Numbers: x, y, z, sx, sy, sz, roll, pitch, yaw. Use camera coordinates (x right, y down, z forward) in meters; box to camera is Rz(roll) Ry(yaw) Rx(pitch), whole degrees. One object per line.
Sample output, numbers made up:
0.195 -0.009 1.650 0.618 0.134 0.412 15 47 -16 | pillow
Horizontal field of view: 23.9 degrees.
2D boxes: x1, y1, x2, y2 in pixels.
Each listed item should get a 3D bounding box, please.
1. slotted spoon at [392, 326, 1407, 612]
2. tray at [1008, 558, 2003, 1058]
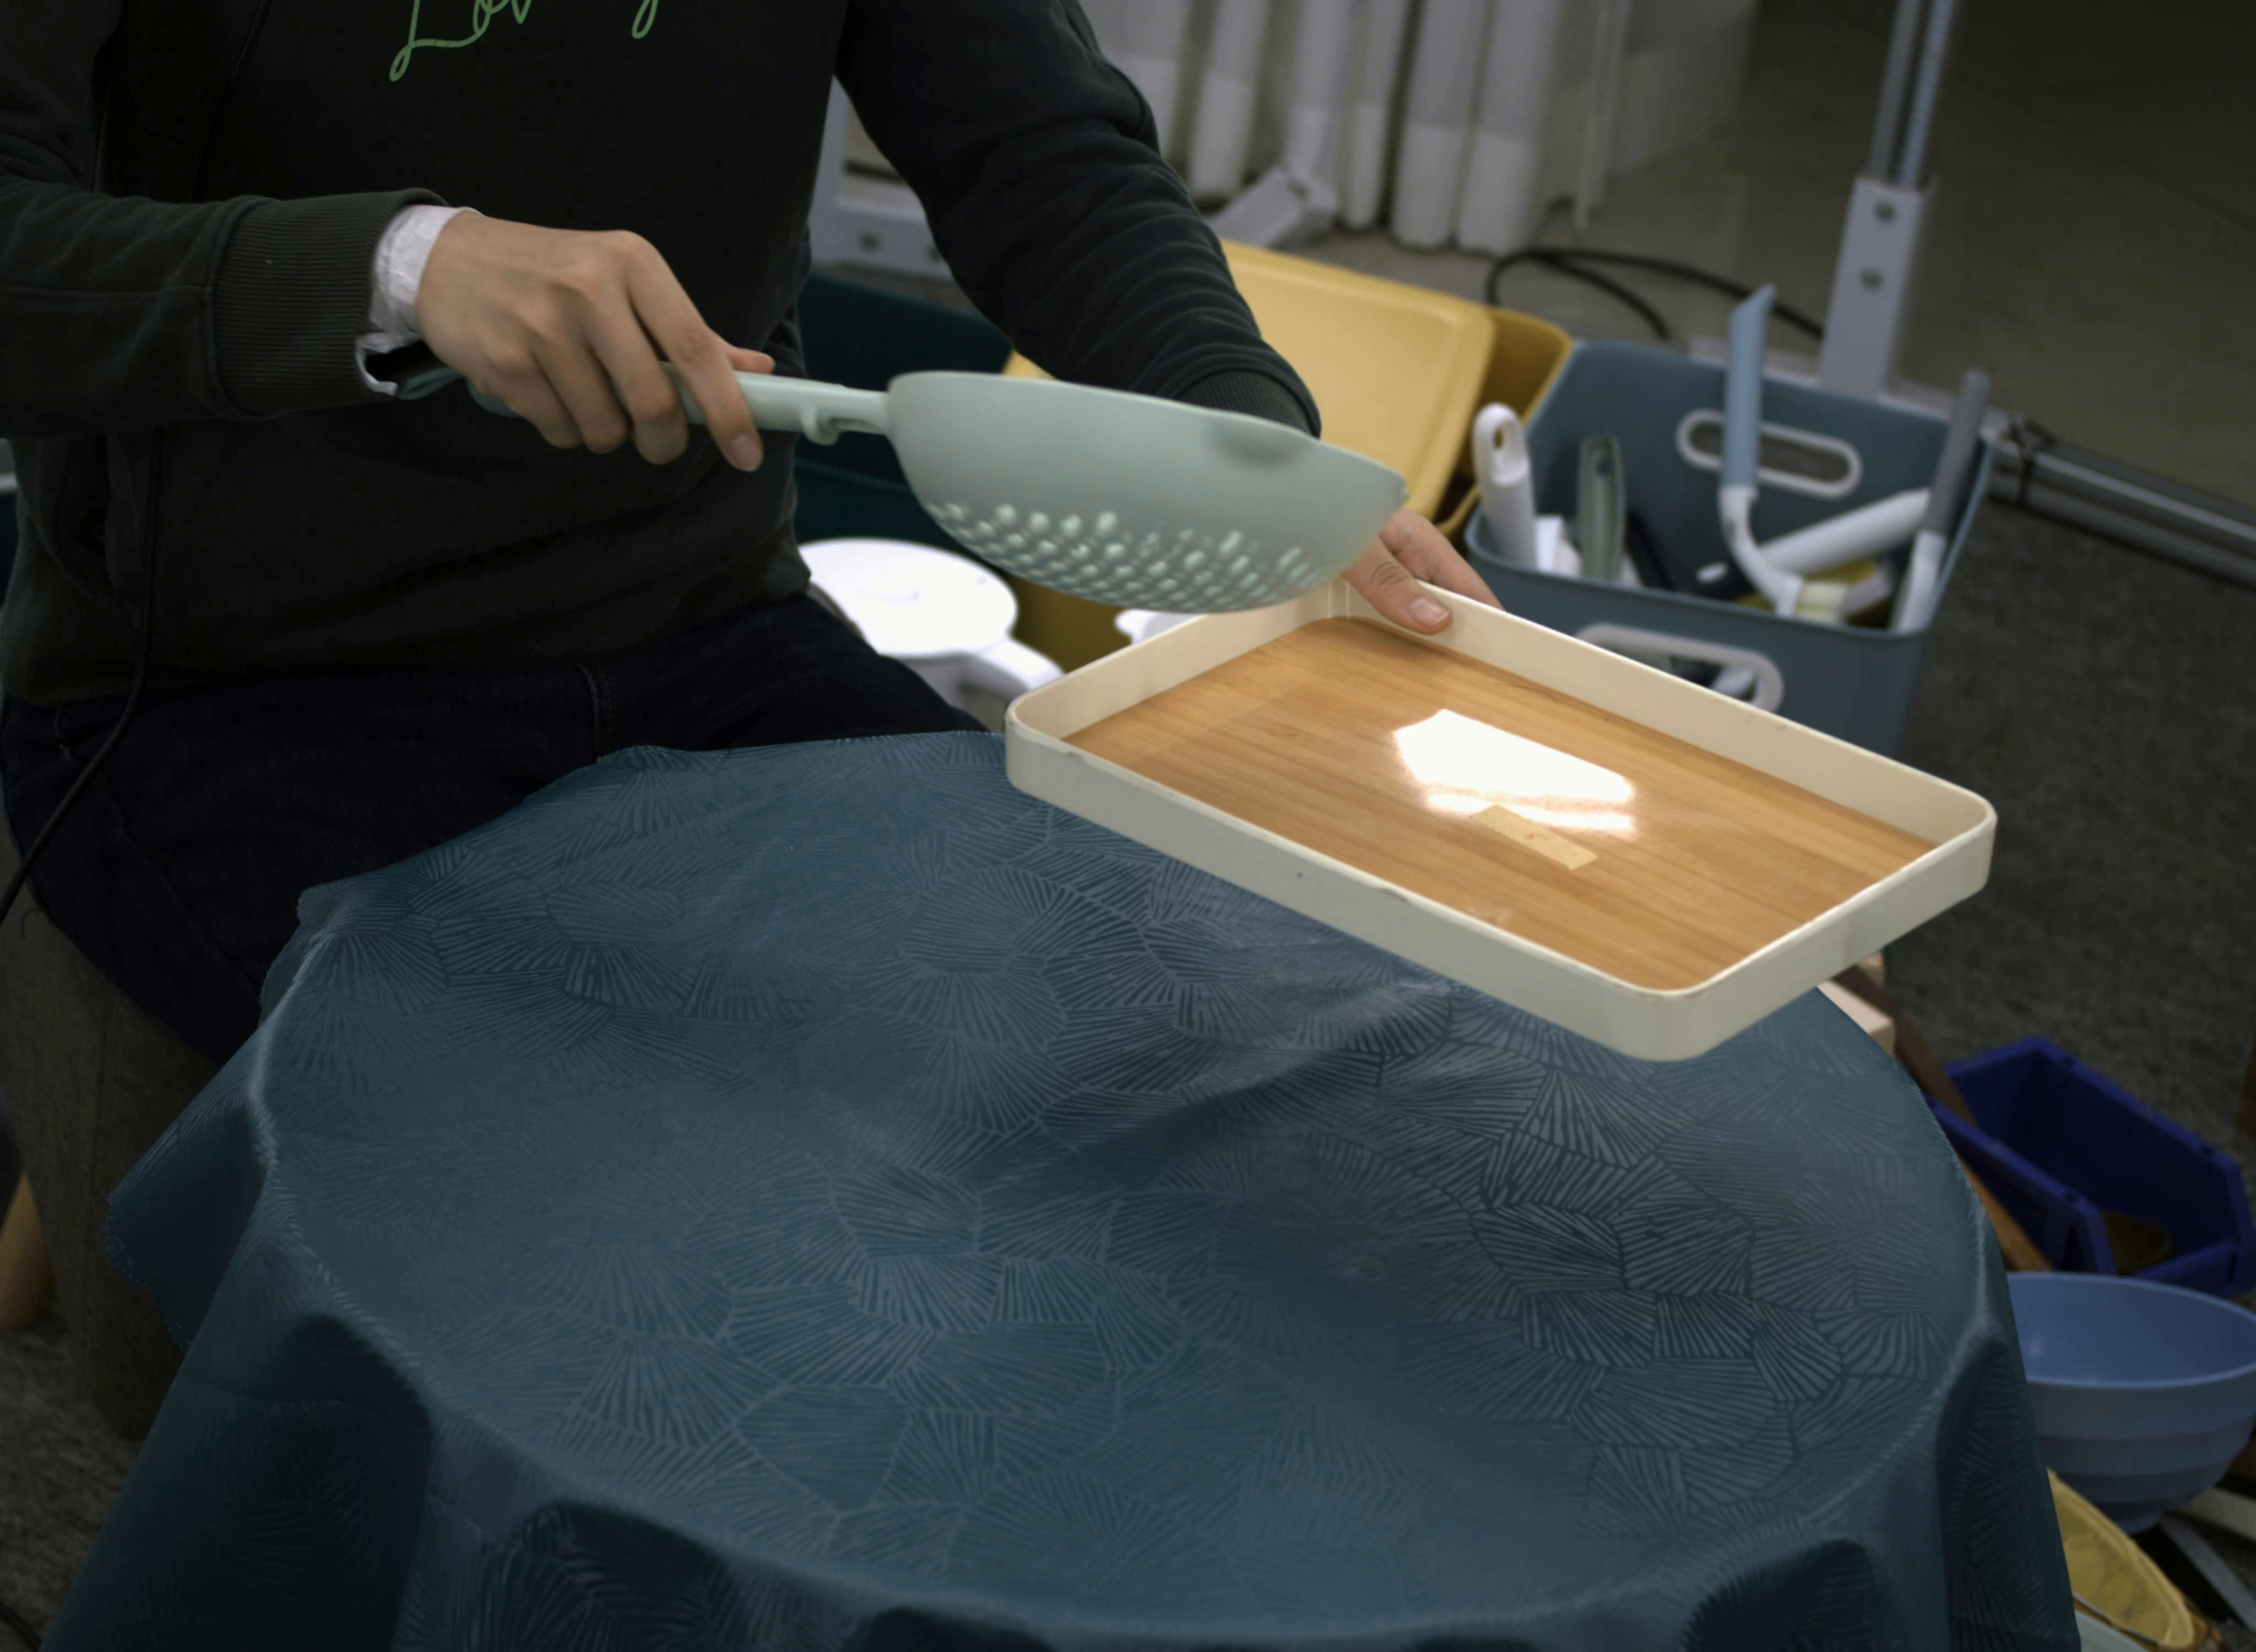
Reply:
-0.085 -0.133 1.761 0.360 0.075 0.168 19 -2 24 | slotted spoon
0.124 -0.011 1.800 0.302 0.027 0.191 24 35 37 | tray
